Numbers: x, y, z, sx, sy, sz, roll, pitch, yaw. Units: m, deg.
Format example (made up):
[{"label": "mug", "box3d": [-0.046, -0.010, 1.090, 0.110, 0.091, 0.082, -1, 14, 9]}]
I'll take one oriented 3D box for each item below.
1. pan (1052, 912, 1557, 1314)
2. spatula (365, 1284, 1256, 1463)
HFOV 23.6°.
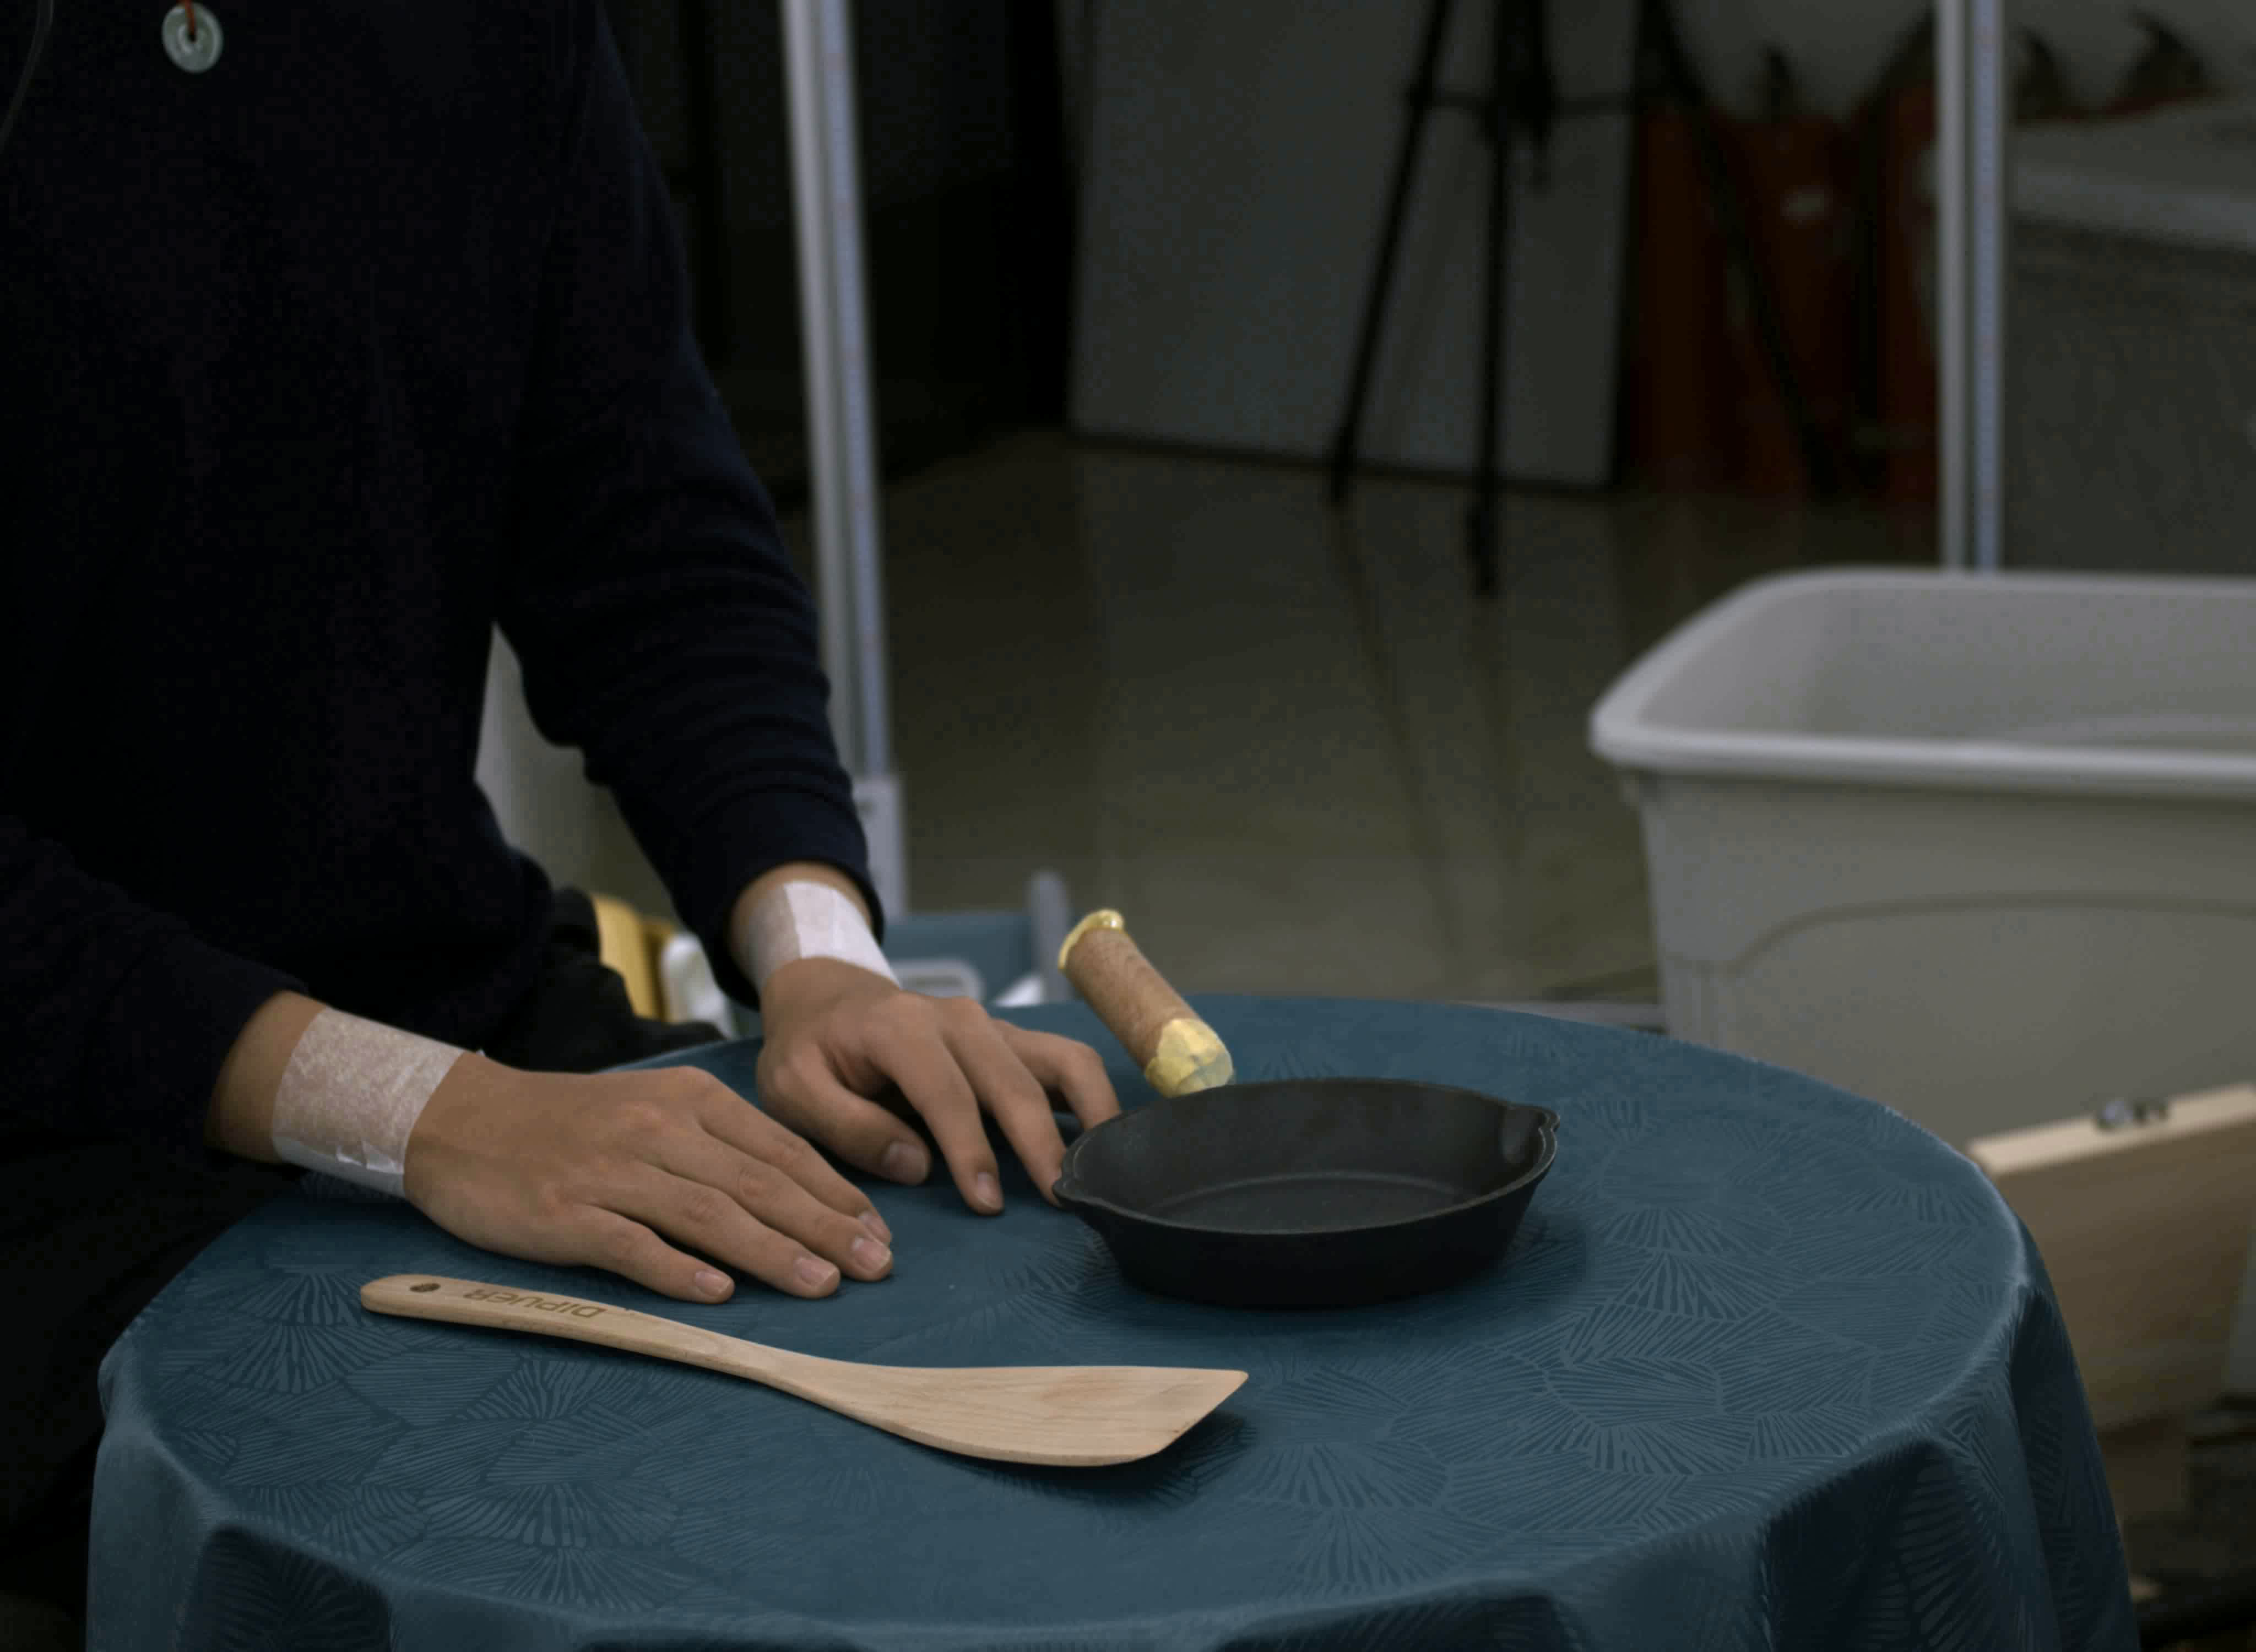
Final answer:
[{"label": "pan", "box3d": [0.034, 0.091, 1.777, 0.166, 0.050, 0.327, -8, 16, -14]}, {"label": "spatula", "box3d": [-0.104, 0.158, 1.617, 0.329, 0.017, 0.078, 6, 16, 36]}]
